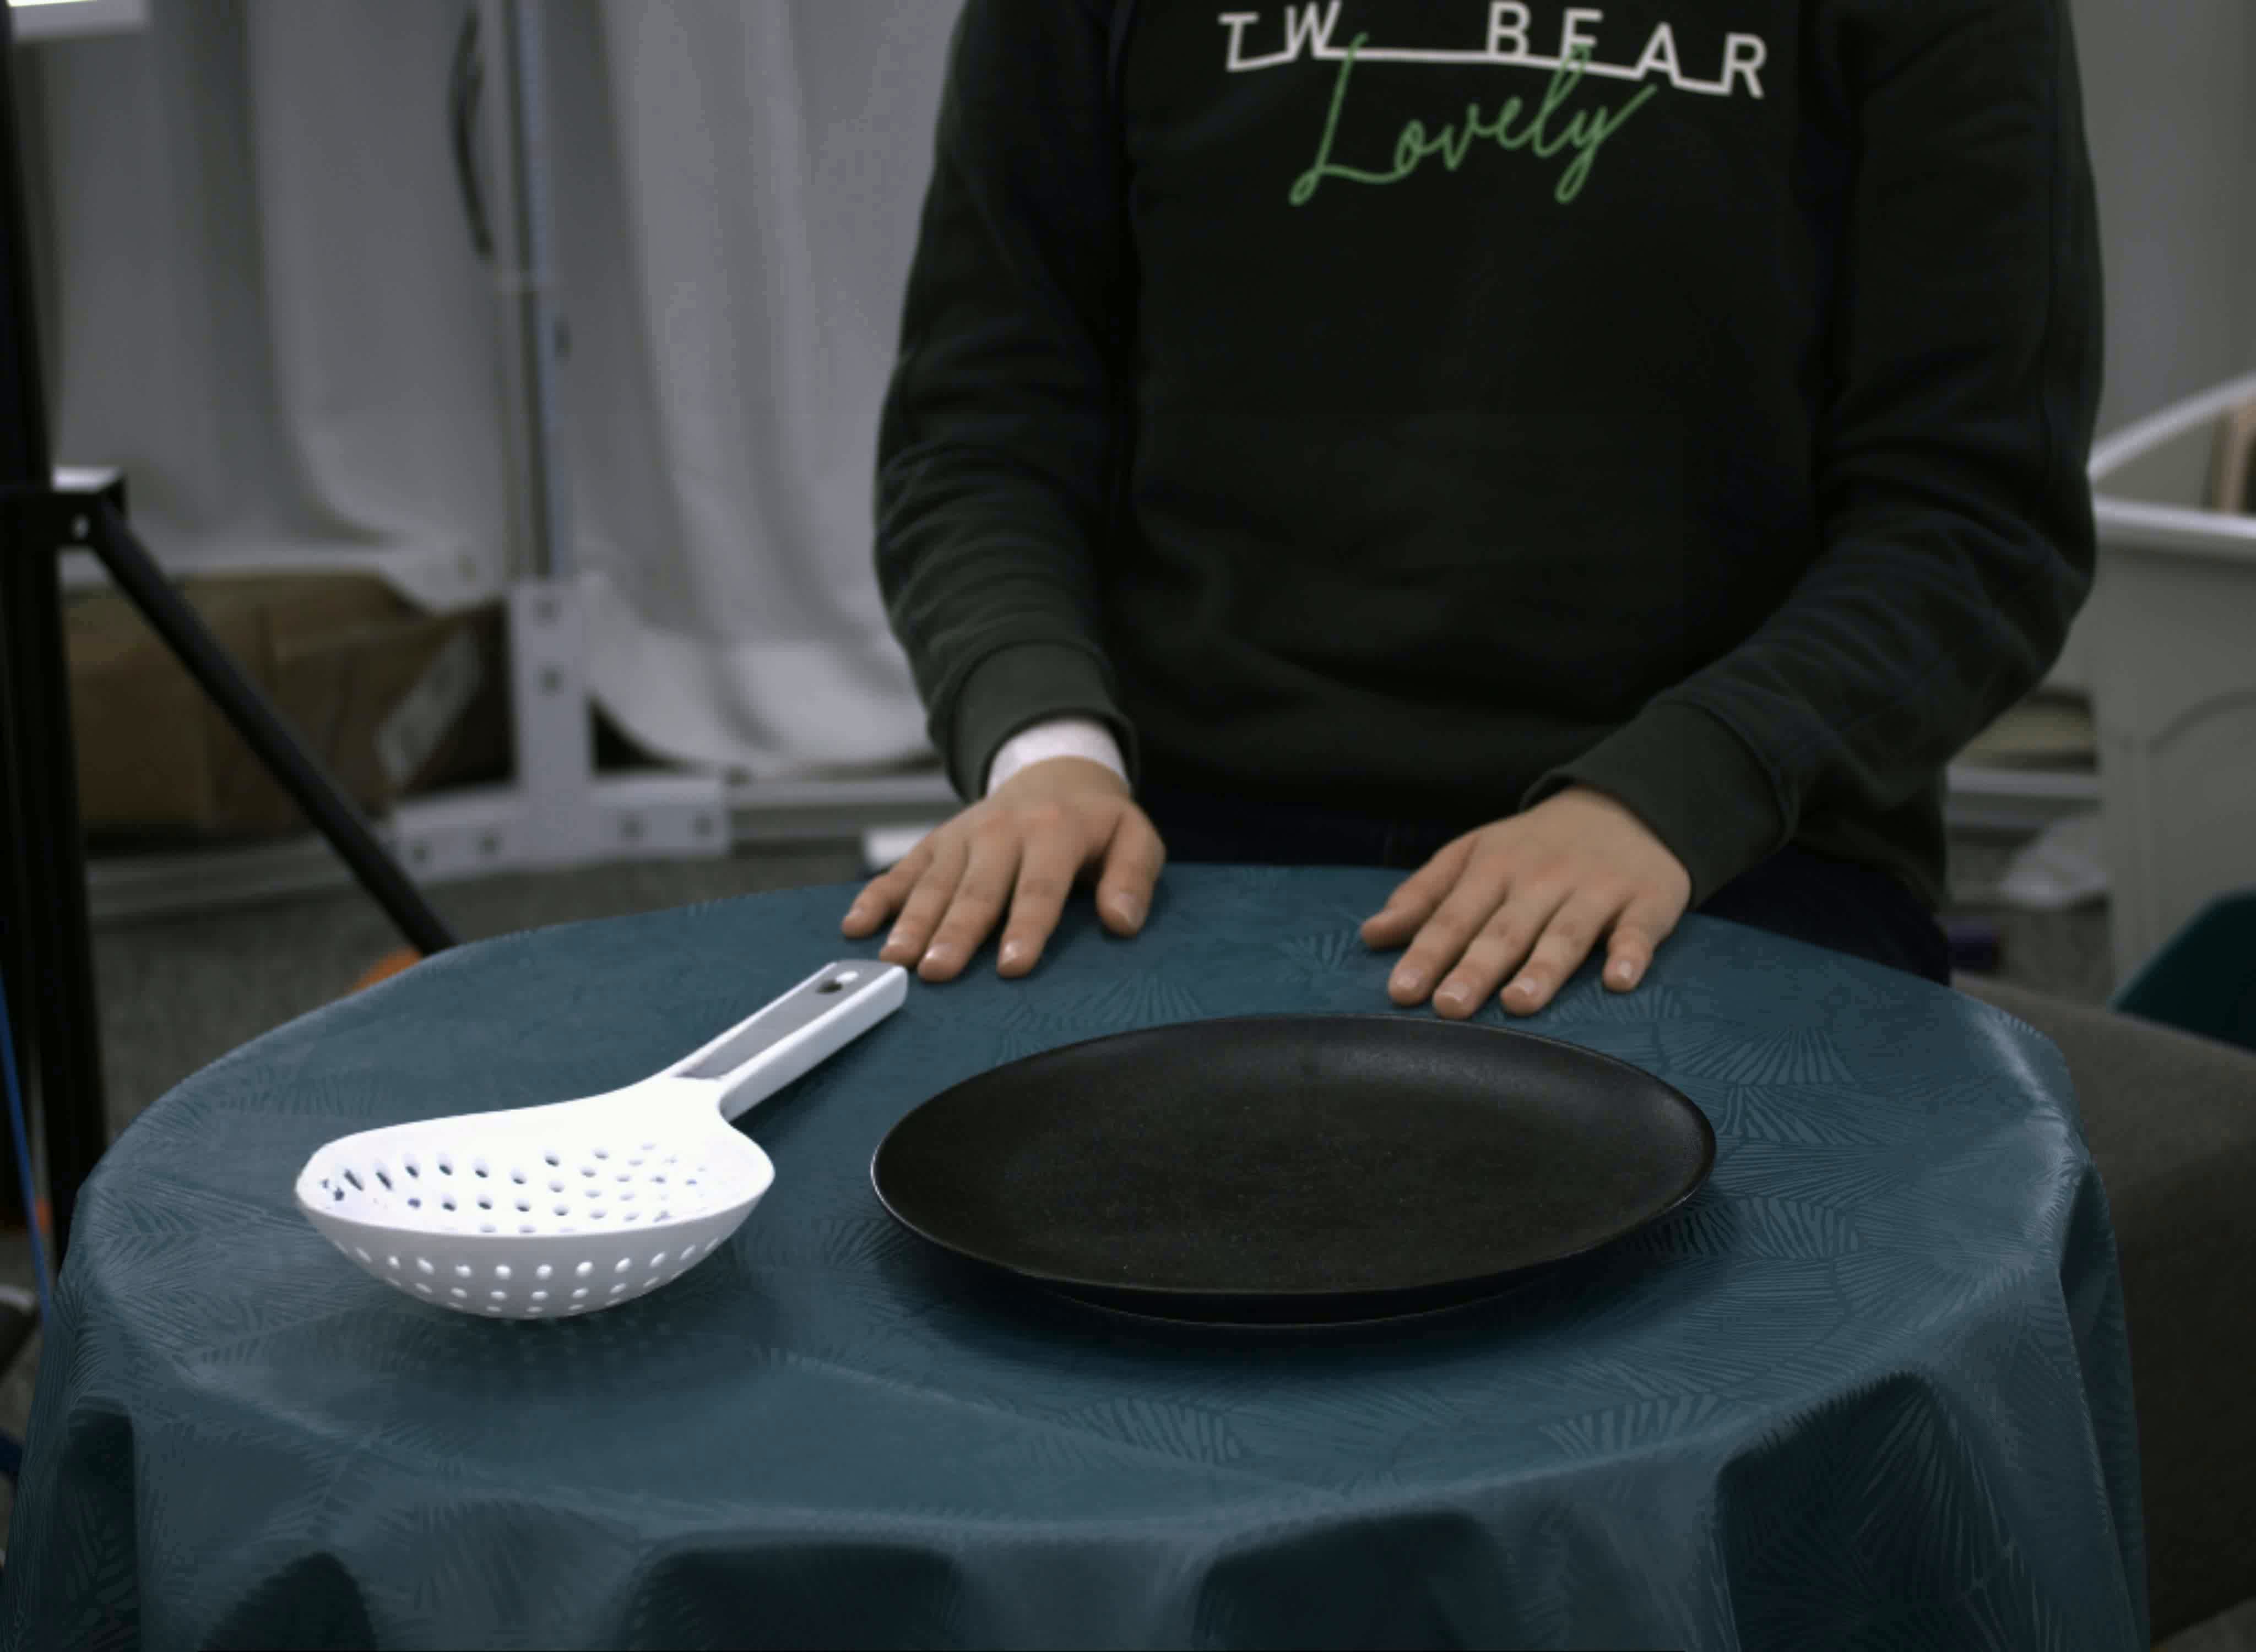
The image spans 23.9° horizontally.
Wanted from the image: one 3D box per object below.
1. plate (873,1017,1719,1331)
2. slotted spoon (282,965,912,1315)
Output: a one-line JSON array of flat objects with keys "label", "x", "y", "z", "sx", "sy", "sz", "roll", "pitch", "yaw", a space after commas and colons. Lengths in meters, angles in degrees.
[{"label": "plate", "x": 0.048, "y": 0.102, "z": 1.528, "sx": 0.243, "sy": 0.023, "sz": 0.245, "roll": -3, "pitch": 16, "yaw": -1}, {"label": "slotted spoon", "x": -0.135, "y": 0.084, "z": 1.583, "sx": 0.137, "sy": 0.046, "sz": 0.346, "roll": 5, "pitch": 16, "yaw": 17}]
